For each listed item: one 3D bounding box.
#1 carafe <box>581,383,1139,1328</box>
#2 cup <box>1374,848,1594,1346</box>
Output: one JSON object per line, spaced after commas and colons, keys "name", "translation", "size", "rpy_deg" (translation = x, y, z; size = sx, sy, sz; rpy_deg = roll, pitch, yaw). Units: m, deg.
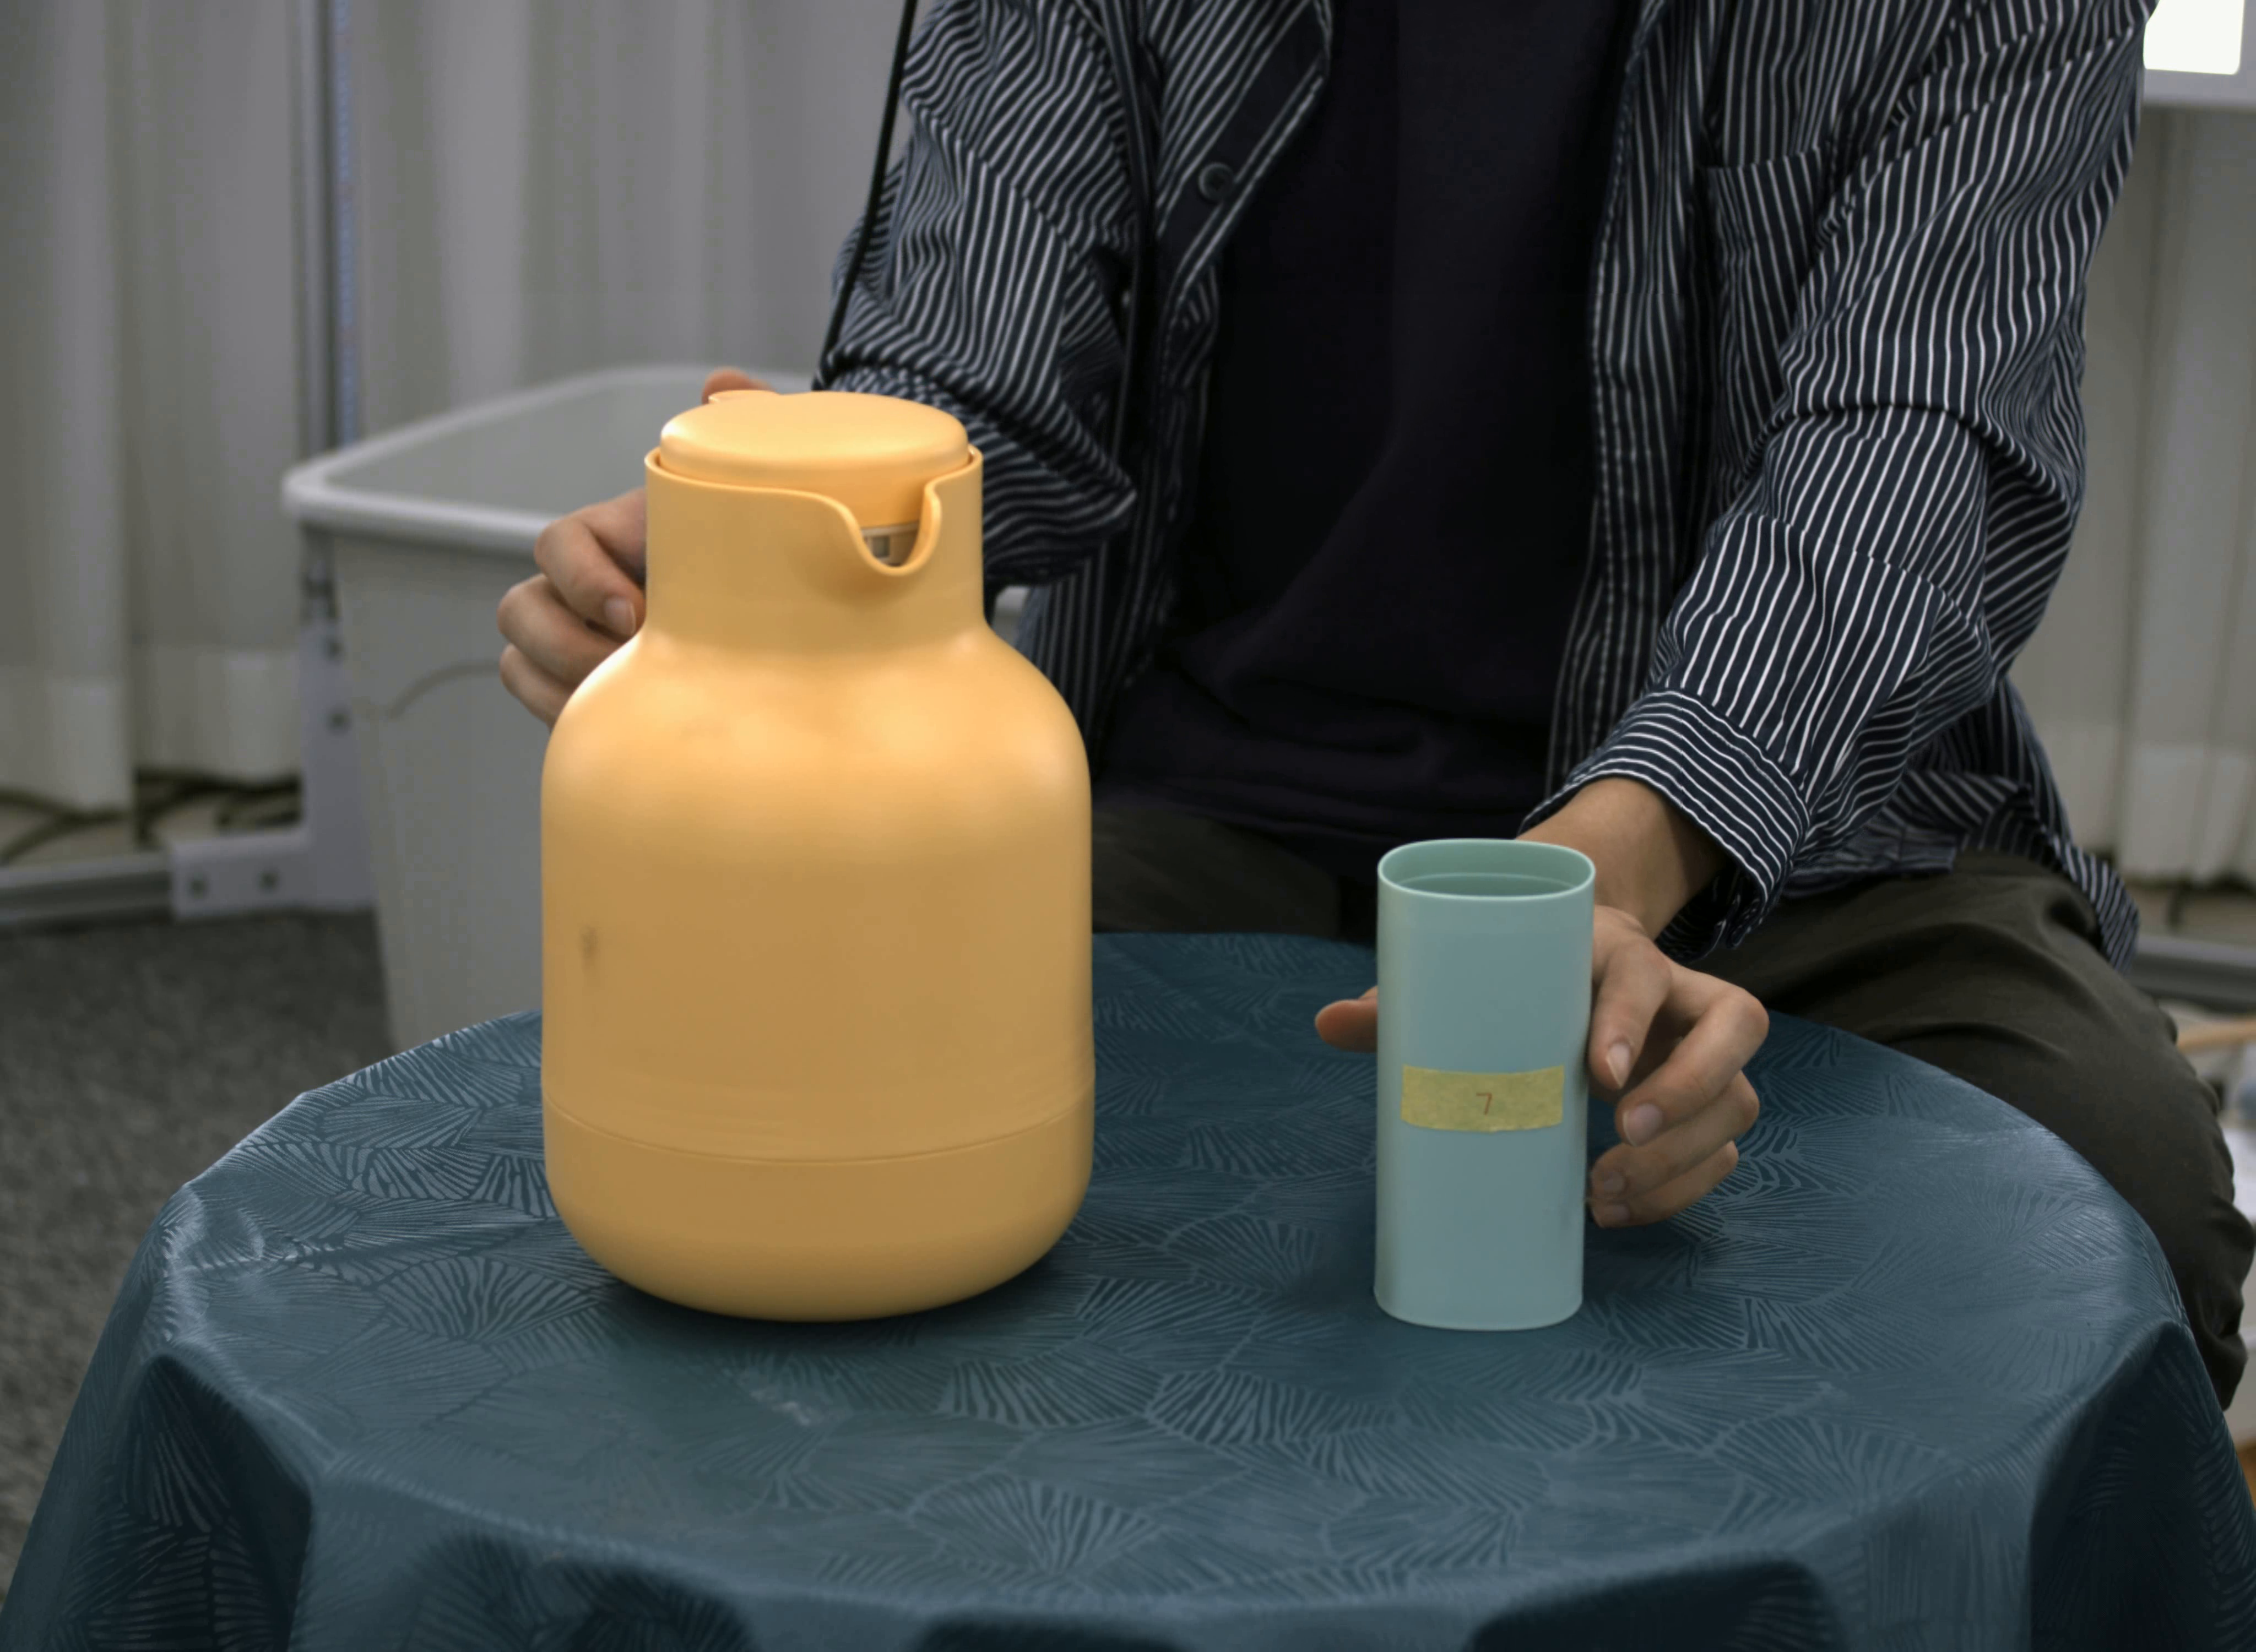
{"name": "carafe", "translation": [-0.084, 0.000, 1.542], "size": [0.164, 0.262, 0.200], "rpy_deg": [-6, 17, -24]}
{"name": "cup", "translation": [0.102, 0.077, 1.525], "size": [0.066, 0.133, 0.066], "rpy_deg": [0, 17, 1]}
